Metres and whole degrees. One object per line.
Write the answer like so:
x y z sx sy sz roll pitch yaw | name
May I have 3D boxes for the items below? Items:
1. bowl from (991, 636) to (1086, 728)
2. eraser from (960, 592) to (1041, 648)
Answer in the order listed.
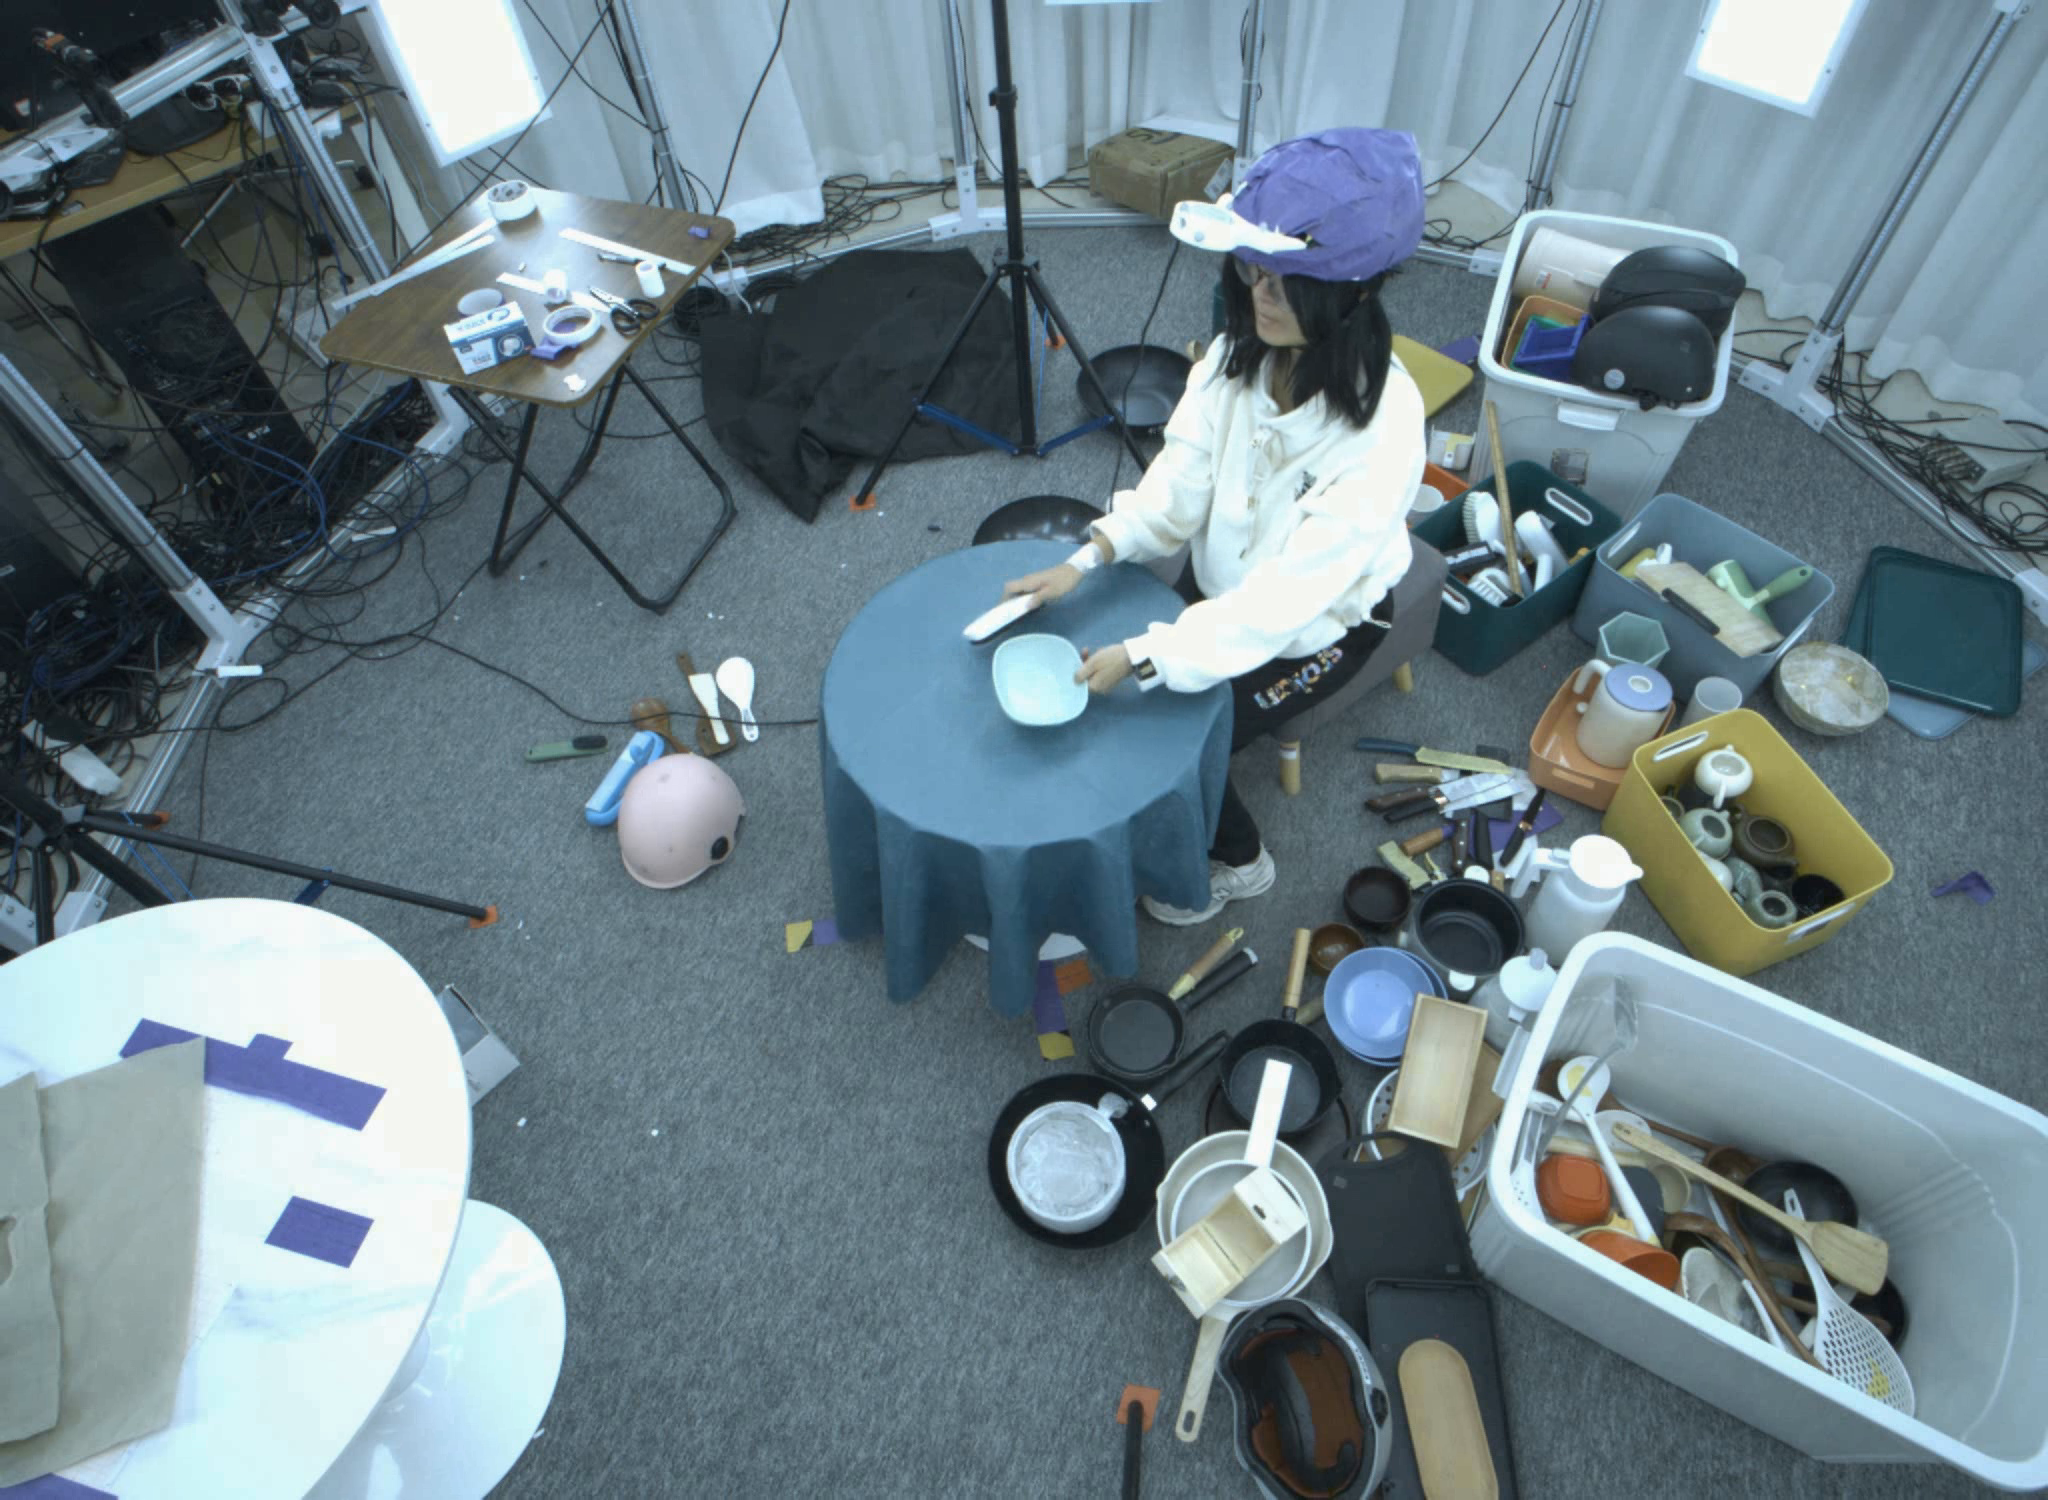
0.015 -0.090 1.787 0.153 0.058 0.150 6 71 -16 | bowl
-0.036 -0.202 1.873 0.132 0.035 0.062 -36 23 -20 | eraser
